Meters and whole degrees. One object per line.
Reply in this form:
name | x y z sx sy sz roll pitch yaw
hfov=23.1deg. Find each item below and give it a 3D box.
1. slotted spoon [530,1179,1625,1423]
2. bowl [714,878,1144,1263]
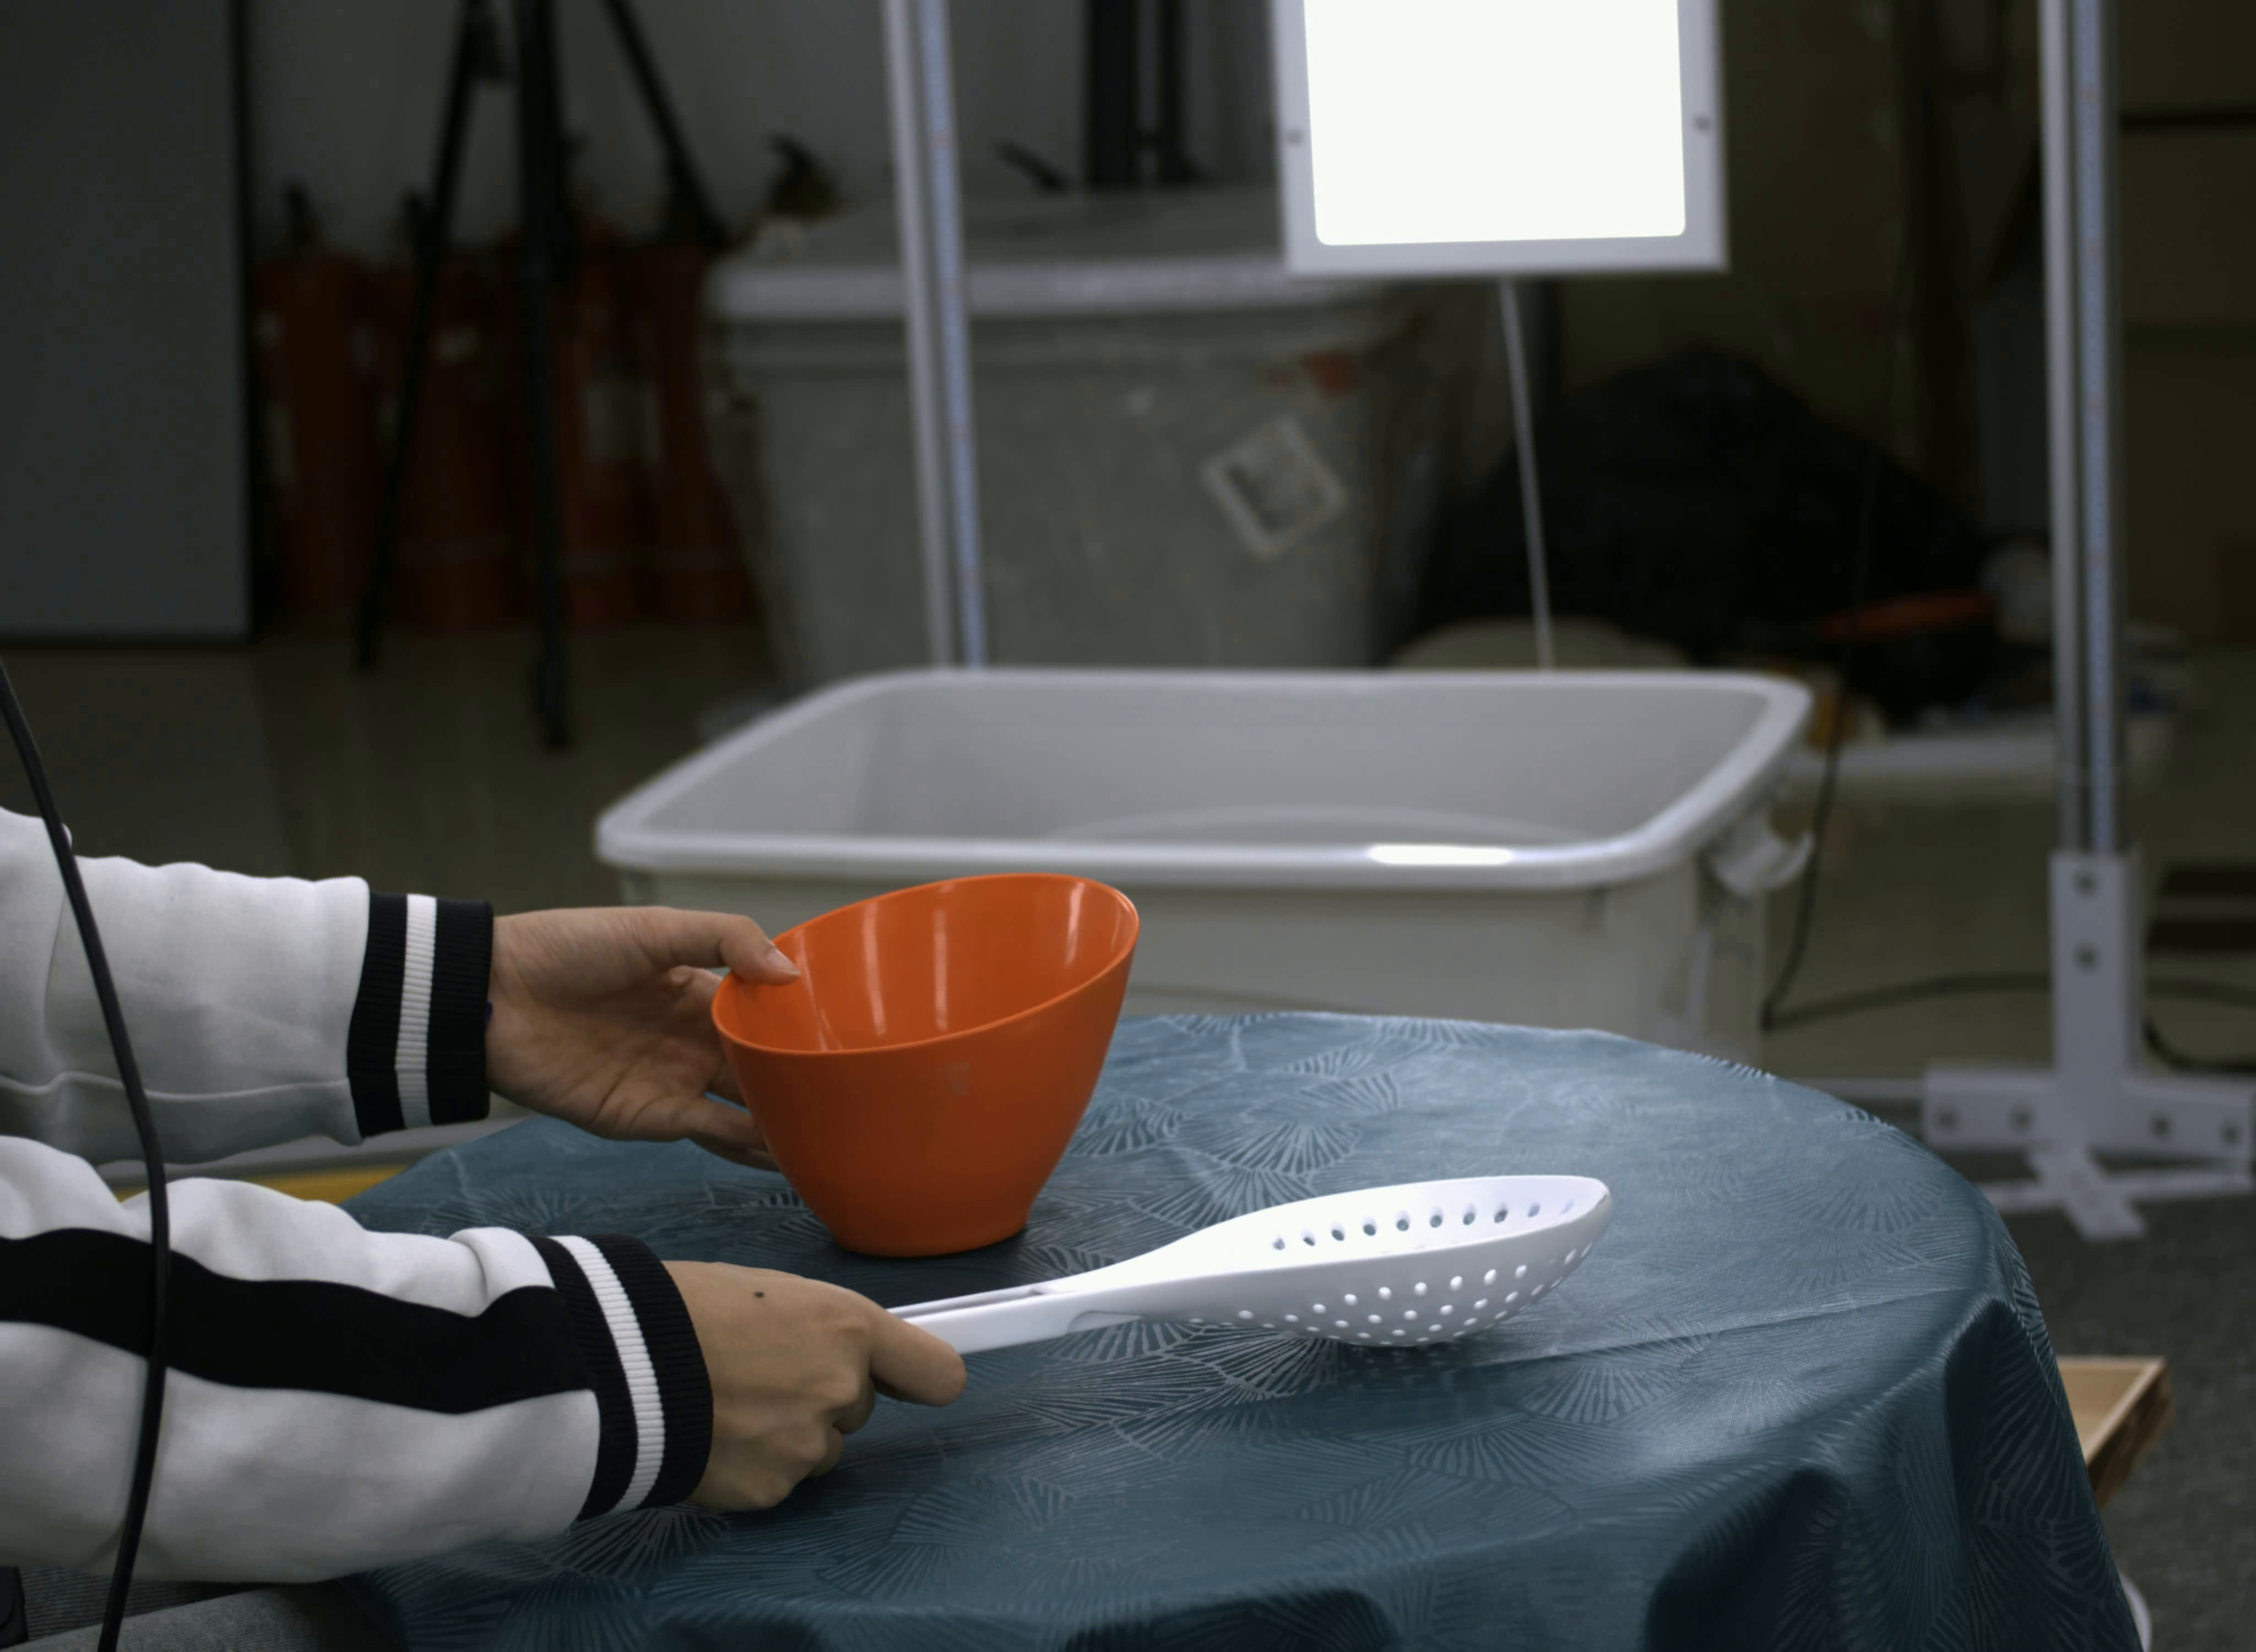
slotted spoon | -0.012 0.144 1.683 0.344 0.046 0.138 -3 2 -18
bowl | -0.064 0.086 1.871 0.147 0.105 0.148 -5 14 0
